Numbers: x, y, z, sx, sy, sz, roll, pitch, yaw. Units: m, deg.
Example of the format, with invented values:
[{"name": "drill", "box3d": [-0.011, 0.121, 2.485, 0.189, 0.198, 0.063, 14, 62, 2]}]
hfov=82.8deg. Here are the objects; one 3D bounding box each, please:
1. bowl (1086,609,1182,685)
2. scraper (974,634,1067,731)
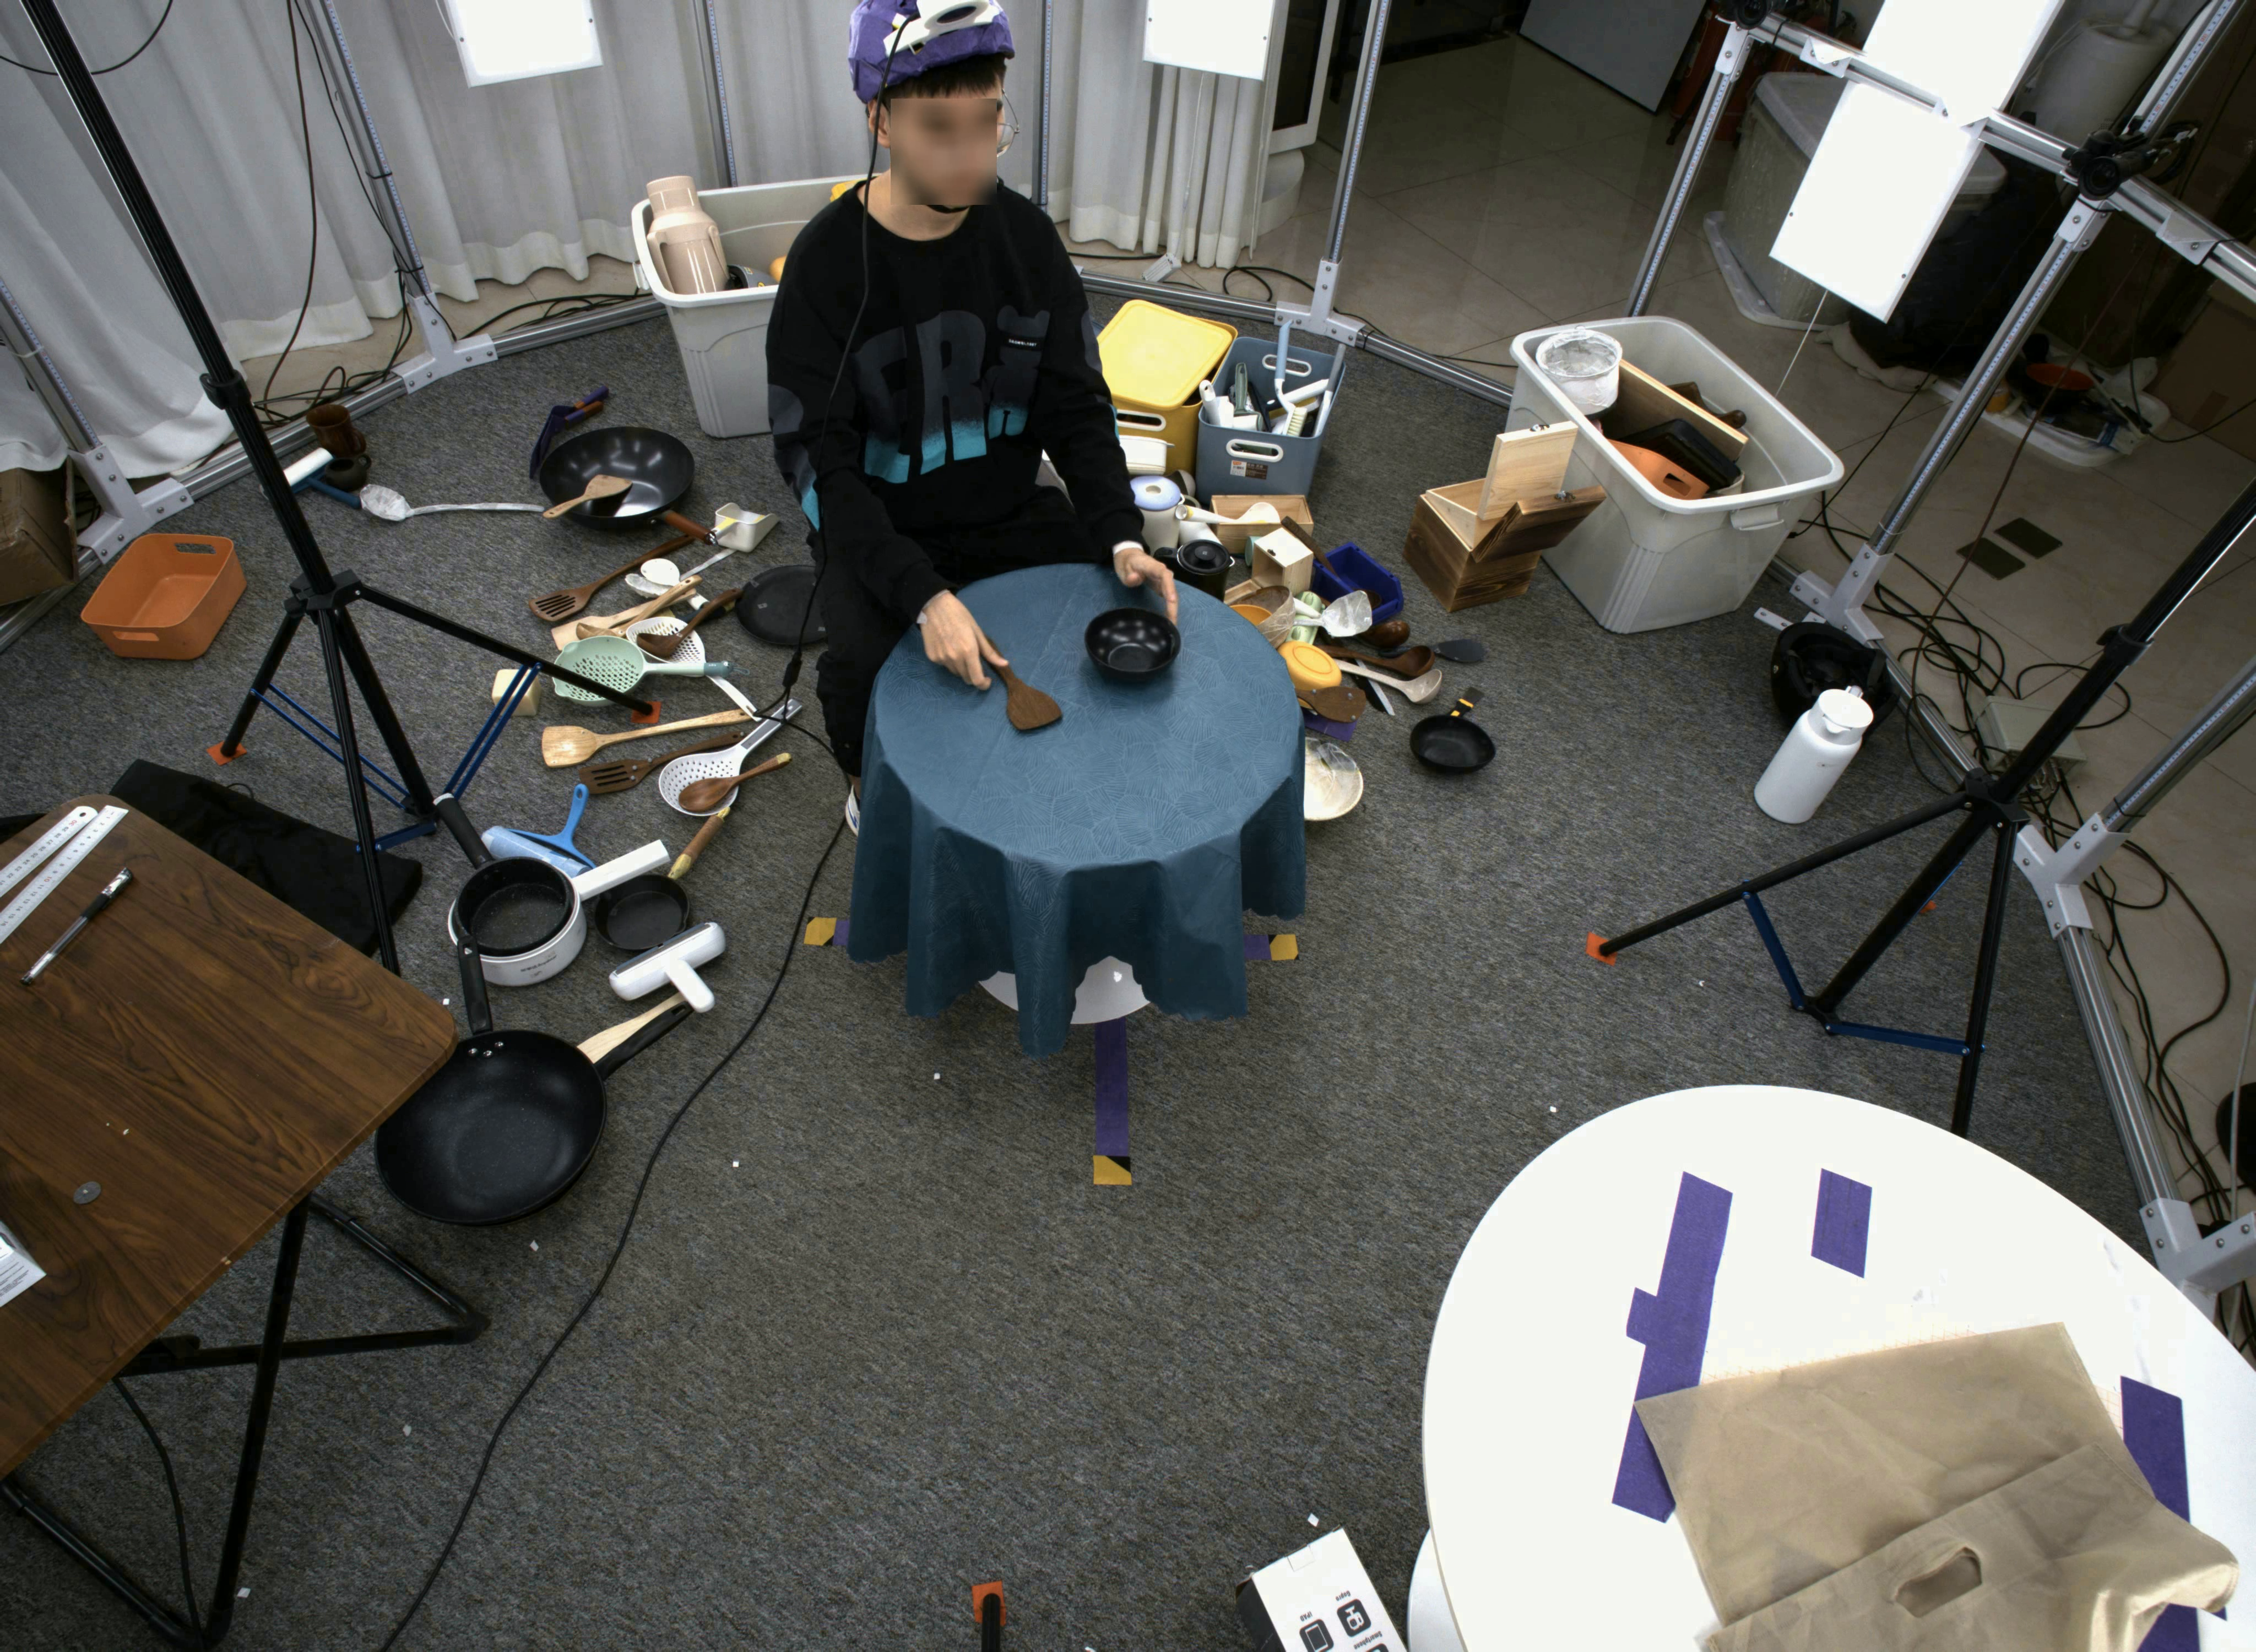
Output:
[{"name": "bowl", "box3d": [0.009, -0.252, 1.874, 0.140, 0.048, 0.143, 0, 49, 0]}, {"name": "scraper", "box3d": [-0.166, -0.209, 1.850, 0.076, 0.010, 0.216, -20, 53, -22]}]
